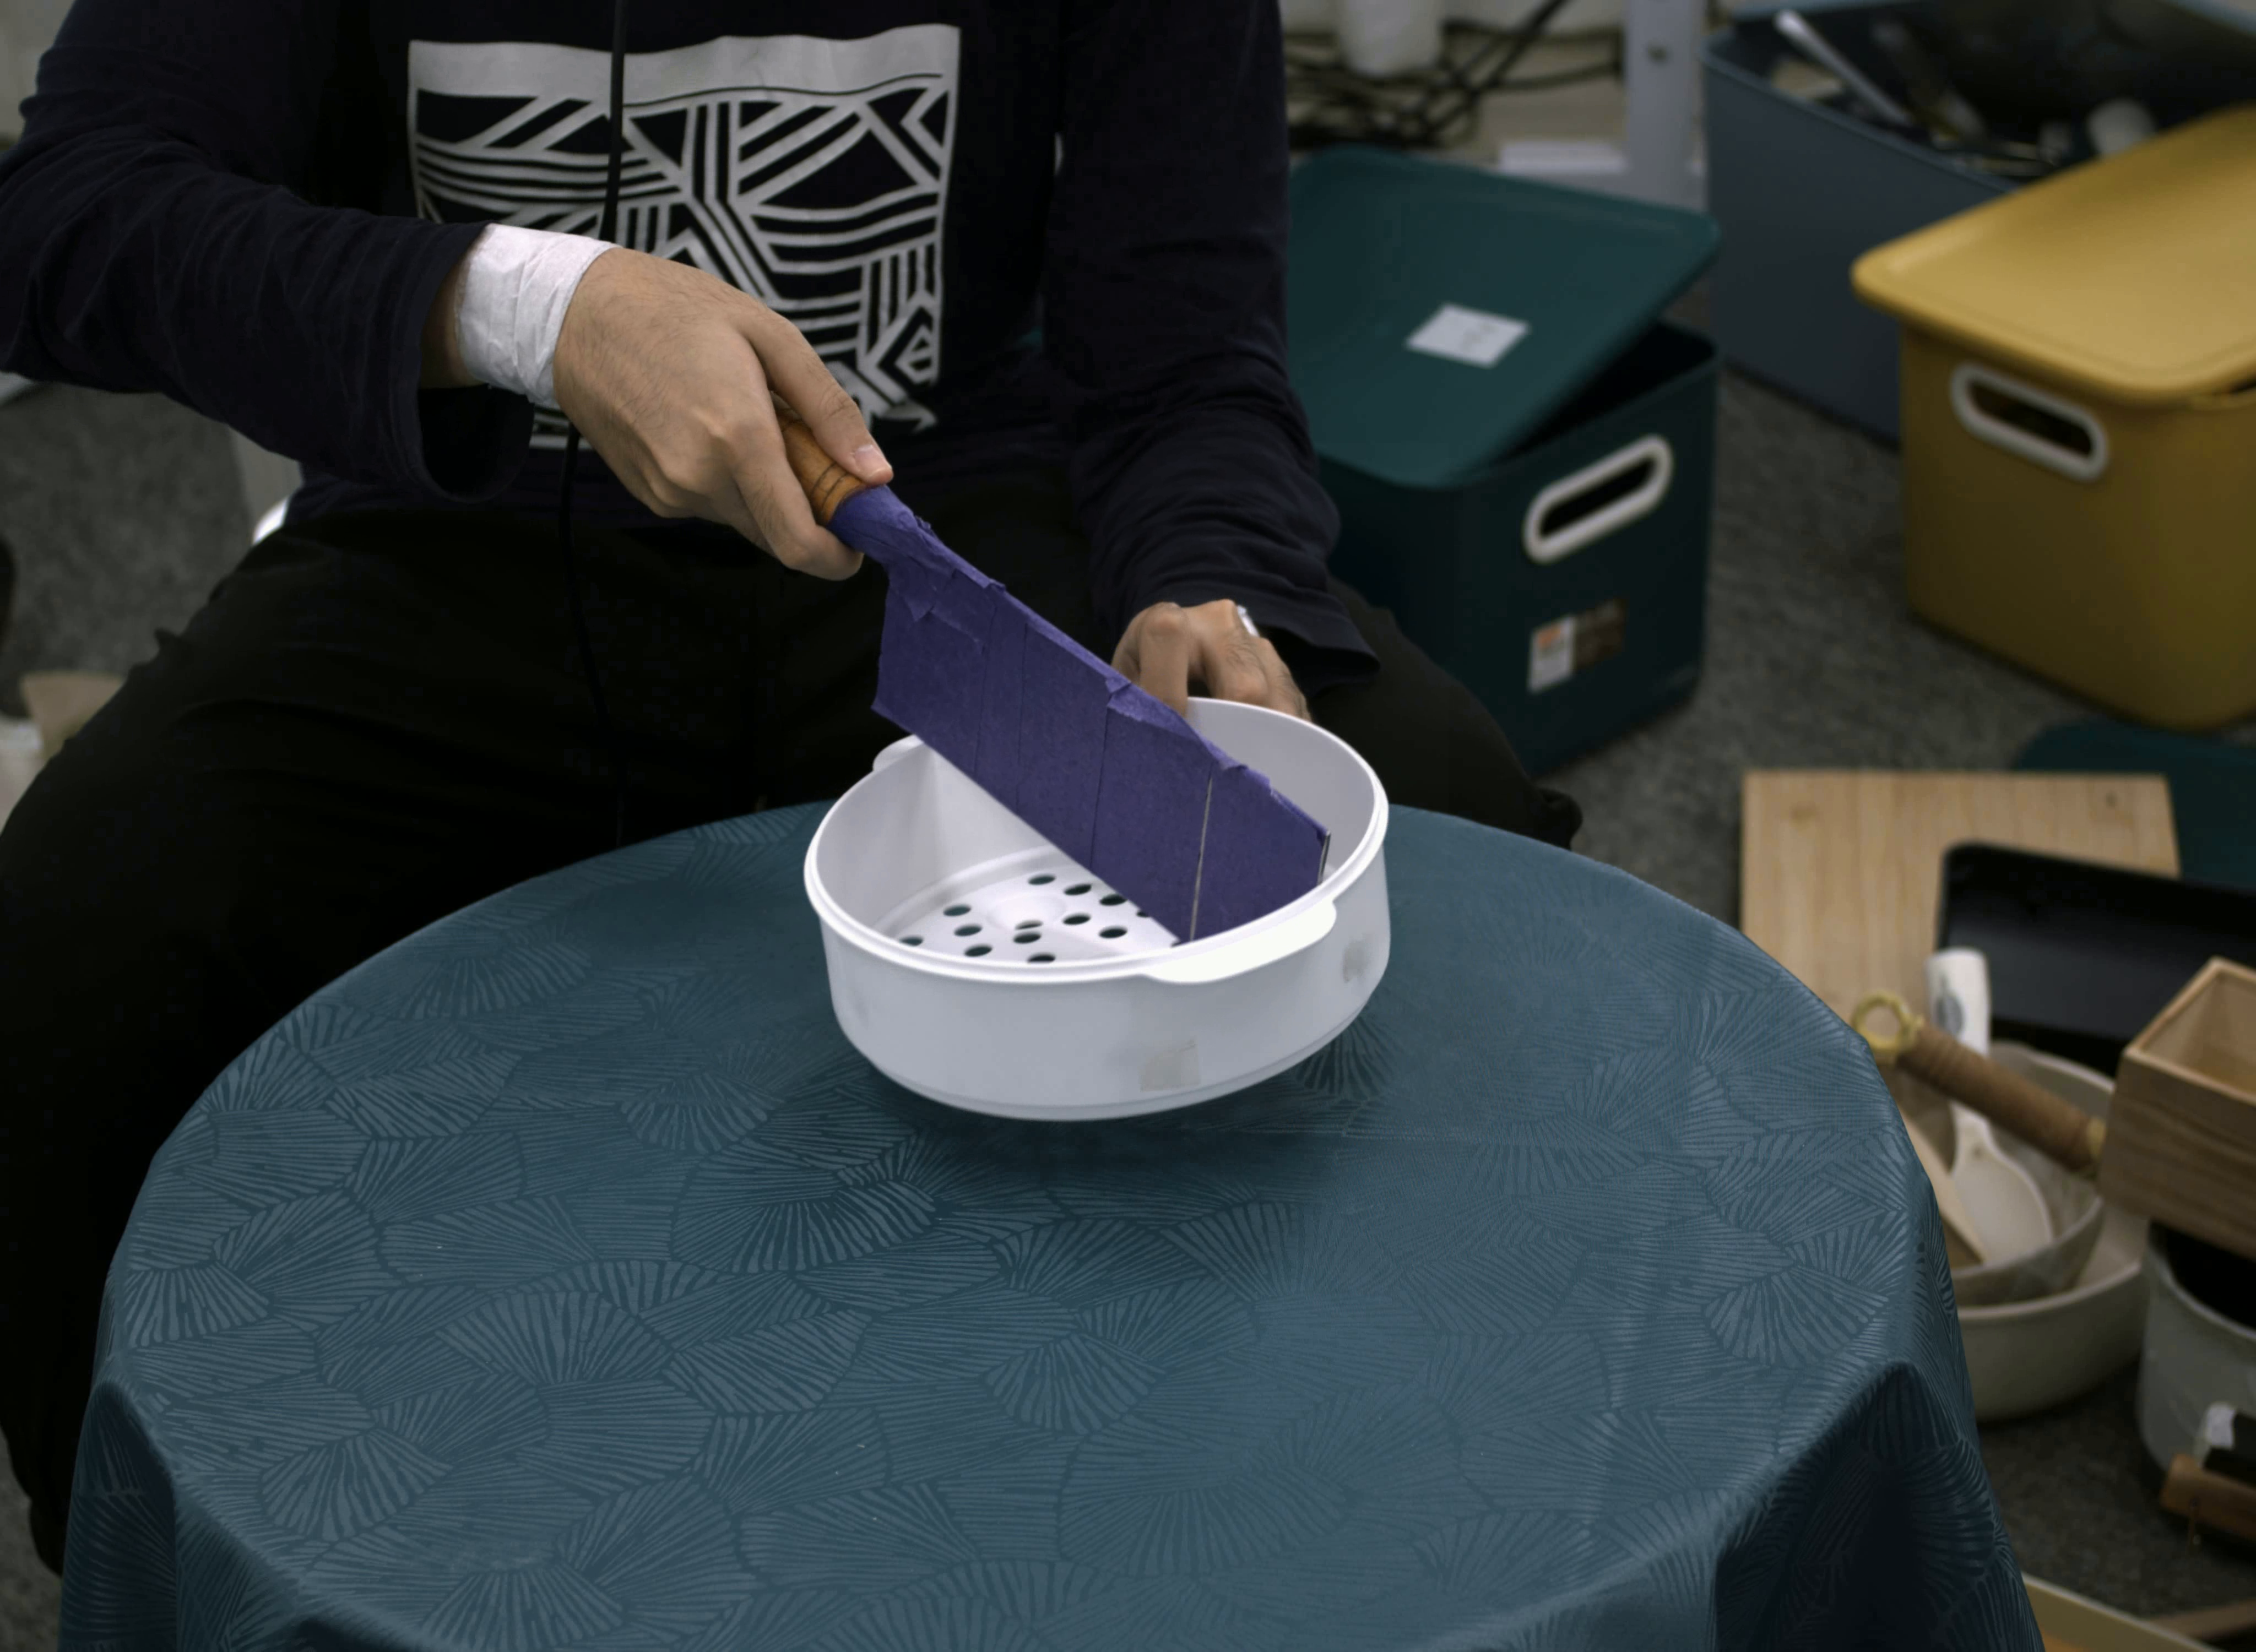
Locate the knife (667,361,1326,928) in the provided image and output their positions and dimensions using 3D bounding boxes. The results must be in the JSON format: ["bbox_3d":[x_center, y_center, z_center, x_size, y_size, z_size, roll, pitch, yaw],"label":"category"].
[{"bbox_3d":[-0.049,-0.048,1.930,0.032,0.102,0.316,-27,51,-35],"label":"knife"}]

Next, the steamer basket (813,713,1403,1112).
[{"bbox_3d":[-0.004,0.030,1.914,0.203,0.068,0.231,-18,26,-25],"label":"steamer basket"}]
